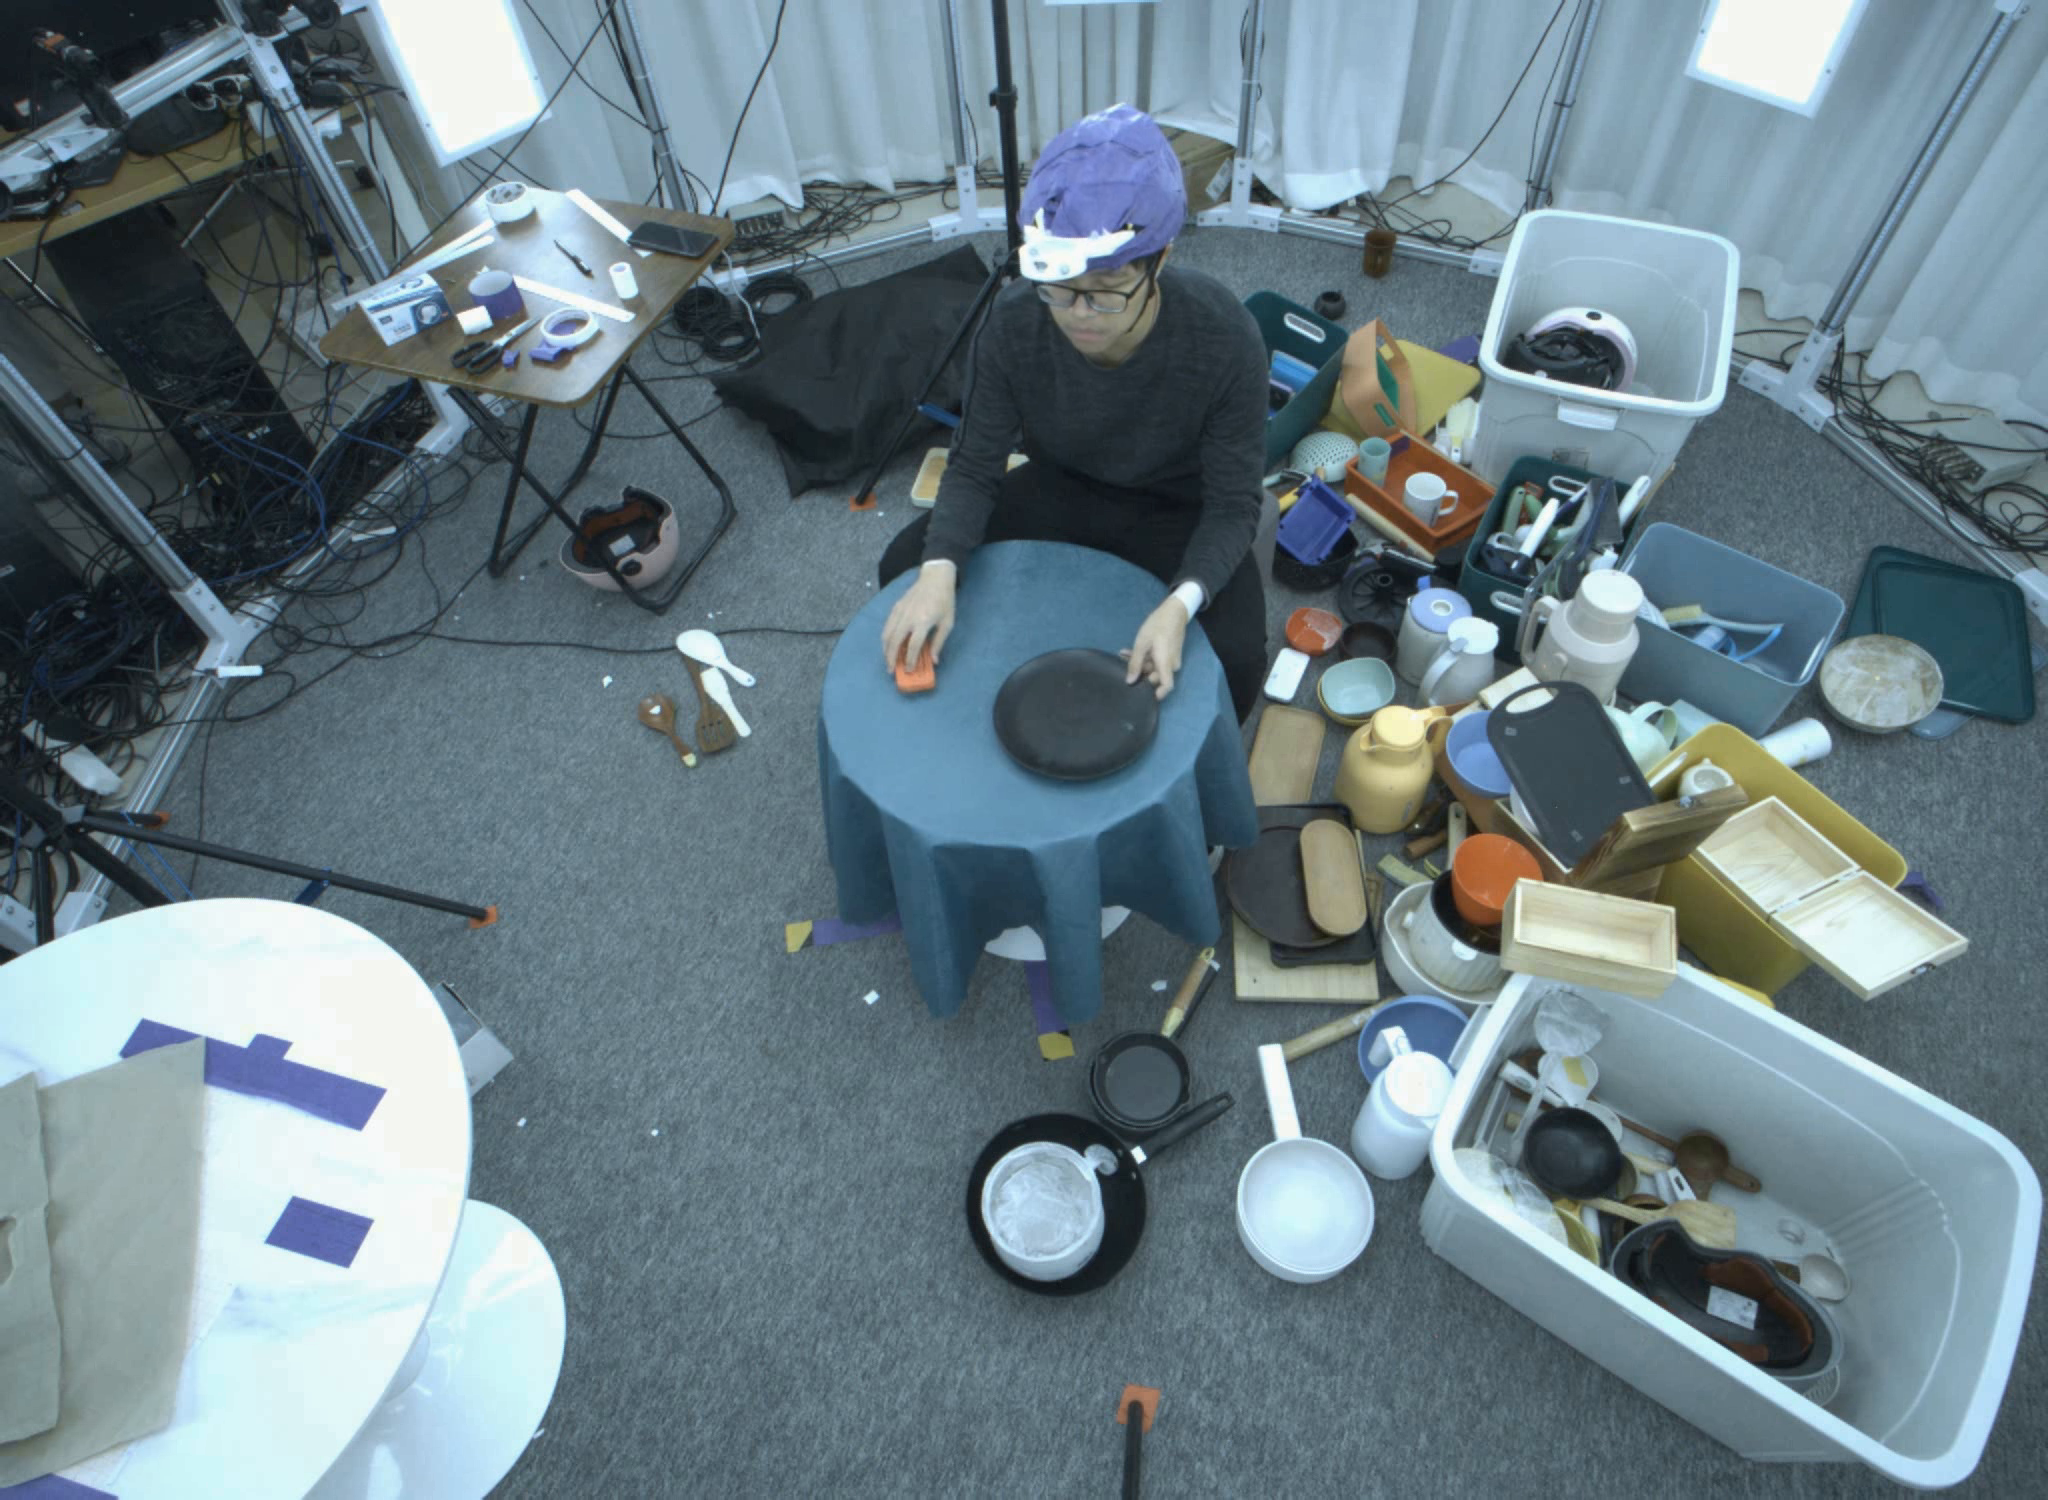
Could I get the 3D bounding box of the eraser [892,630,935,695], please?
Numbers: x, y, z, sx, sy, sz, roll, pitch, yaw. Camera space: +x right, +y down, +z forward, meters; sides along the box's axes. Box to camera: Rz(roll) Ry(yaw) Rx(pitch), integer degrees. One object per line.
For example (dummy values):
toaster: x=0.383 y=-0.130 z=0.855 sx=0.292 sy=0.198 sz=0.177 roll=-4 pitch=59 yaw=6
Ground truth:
eraser: x=-0.170 y=-0.135 z=1.874 sx=0.059 sy=0.023 sz=0.106 roll=-7 pitch=55 yaw=-5

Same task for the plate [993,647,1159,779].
plate: x=0.076 y=-0.052 z=1.808 sx=0.244 sy=0.024 sz=0.242 roll=-1 pitch=55 yaw=2
